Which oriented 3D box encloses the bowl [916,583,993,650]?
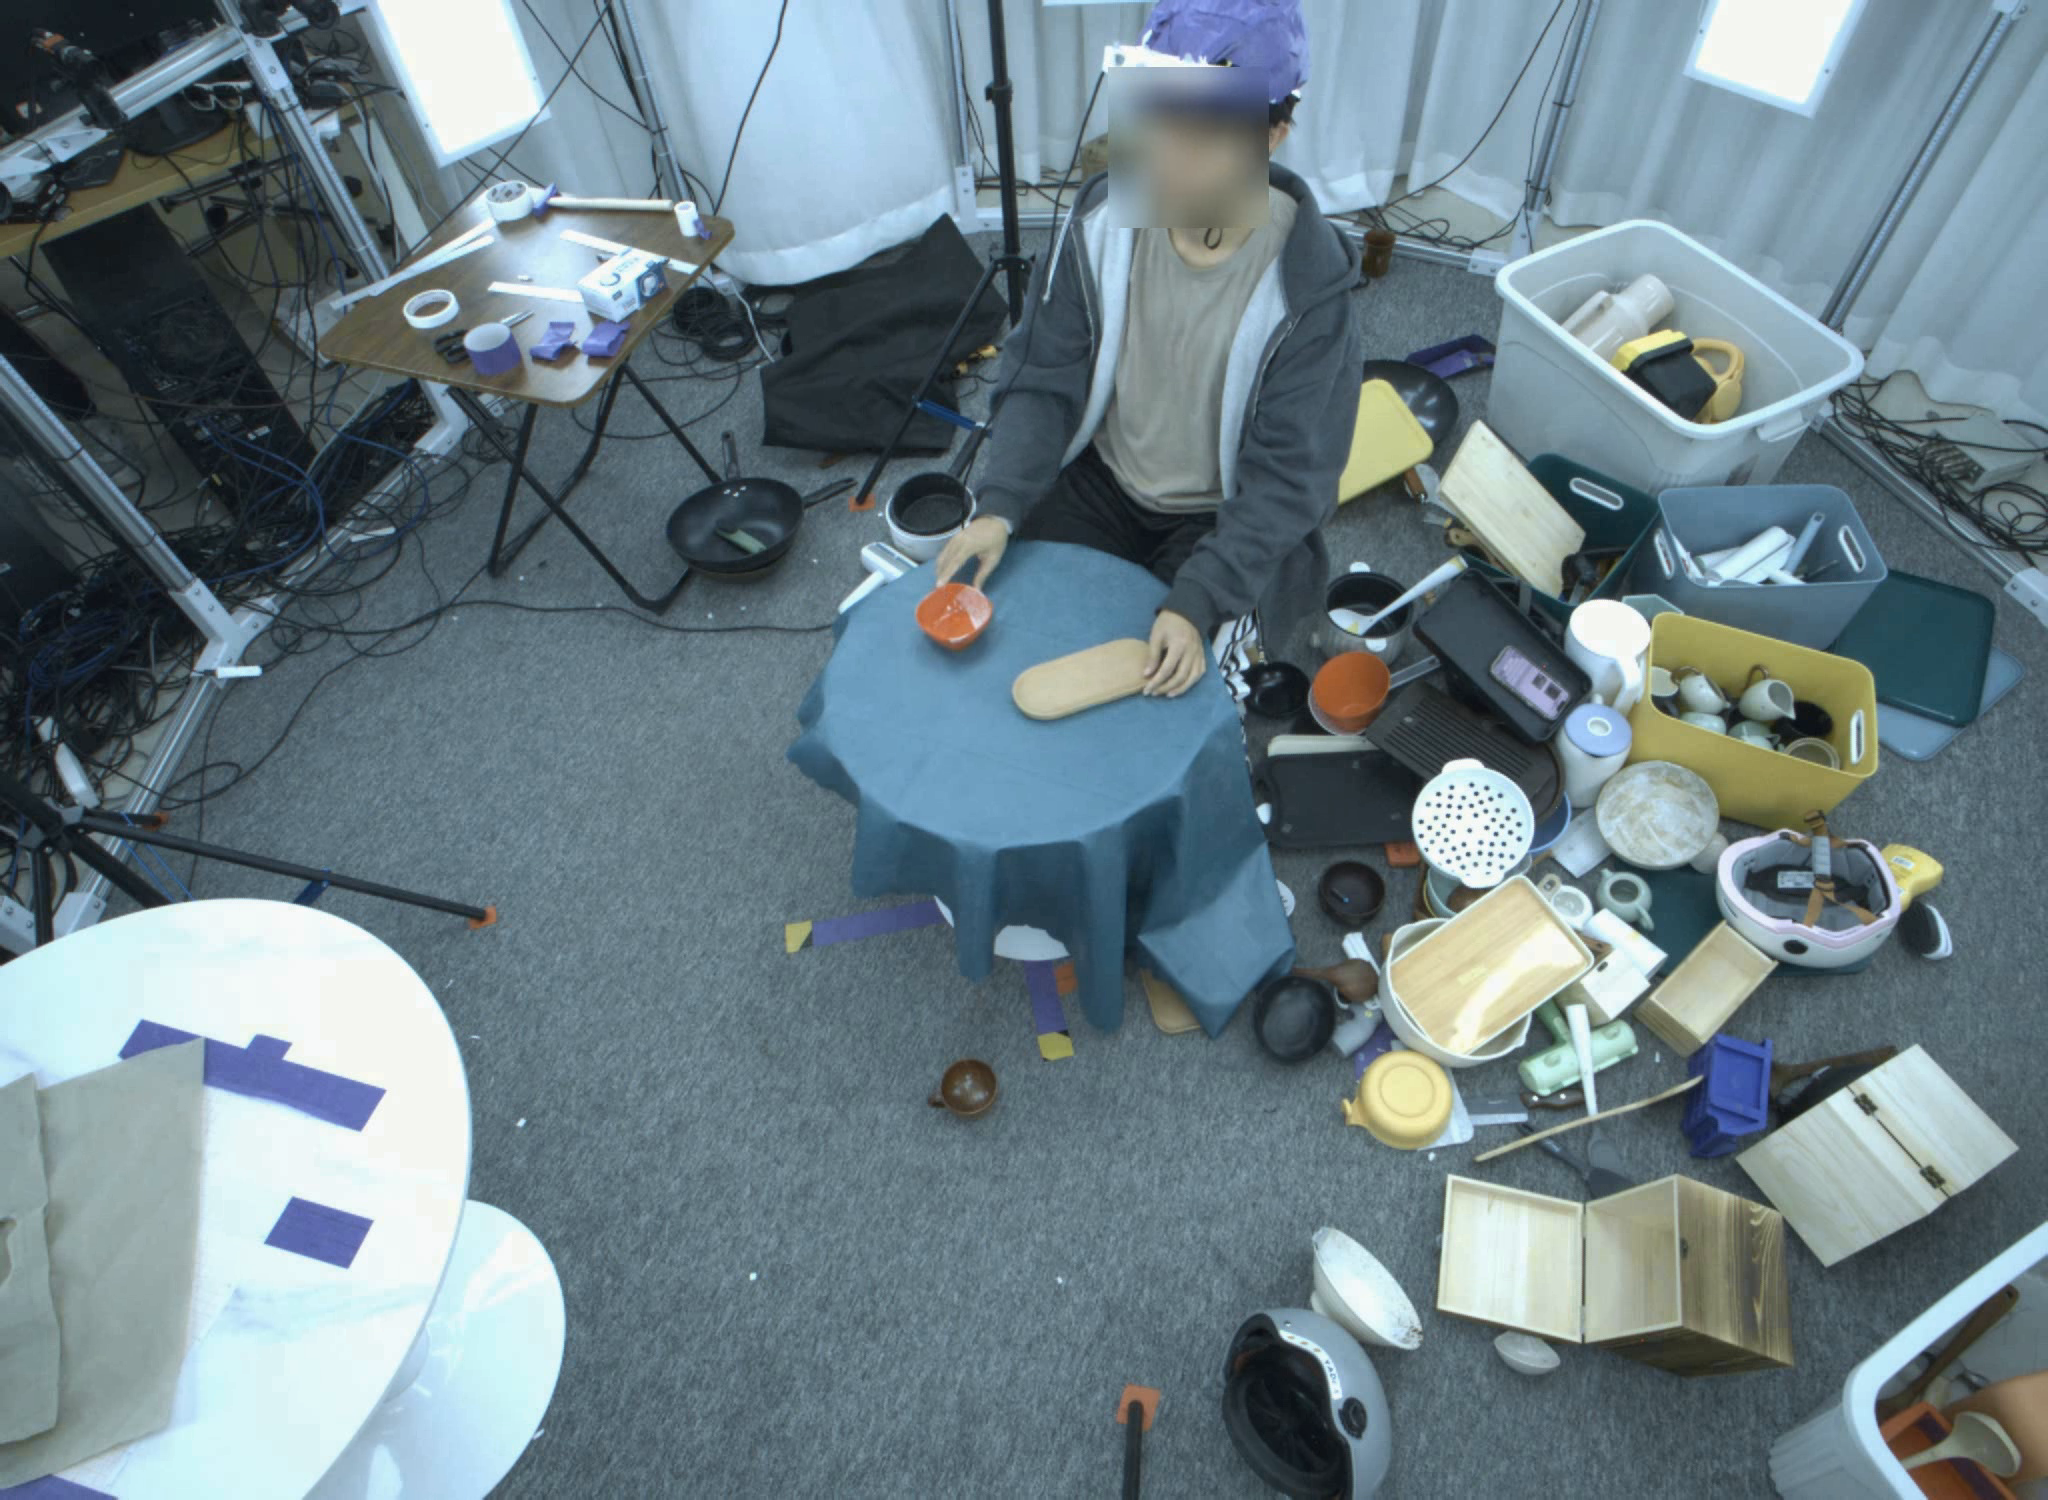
[{"bbox_3d":[-0.106,-0.200,1.903,0.119,0.052,0.117,-1,54,3],"label":"bowl"}]

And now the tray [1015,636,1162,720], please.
[{"bbox_3d":[0.098,-0.109,1.854,0.233,0.020,0.100,-19,57,-12],"label":"tray"}]
